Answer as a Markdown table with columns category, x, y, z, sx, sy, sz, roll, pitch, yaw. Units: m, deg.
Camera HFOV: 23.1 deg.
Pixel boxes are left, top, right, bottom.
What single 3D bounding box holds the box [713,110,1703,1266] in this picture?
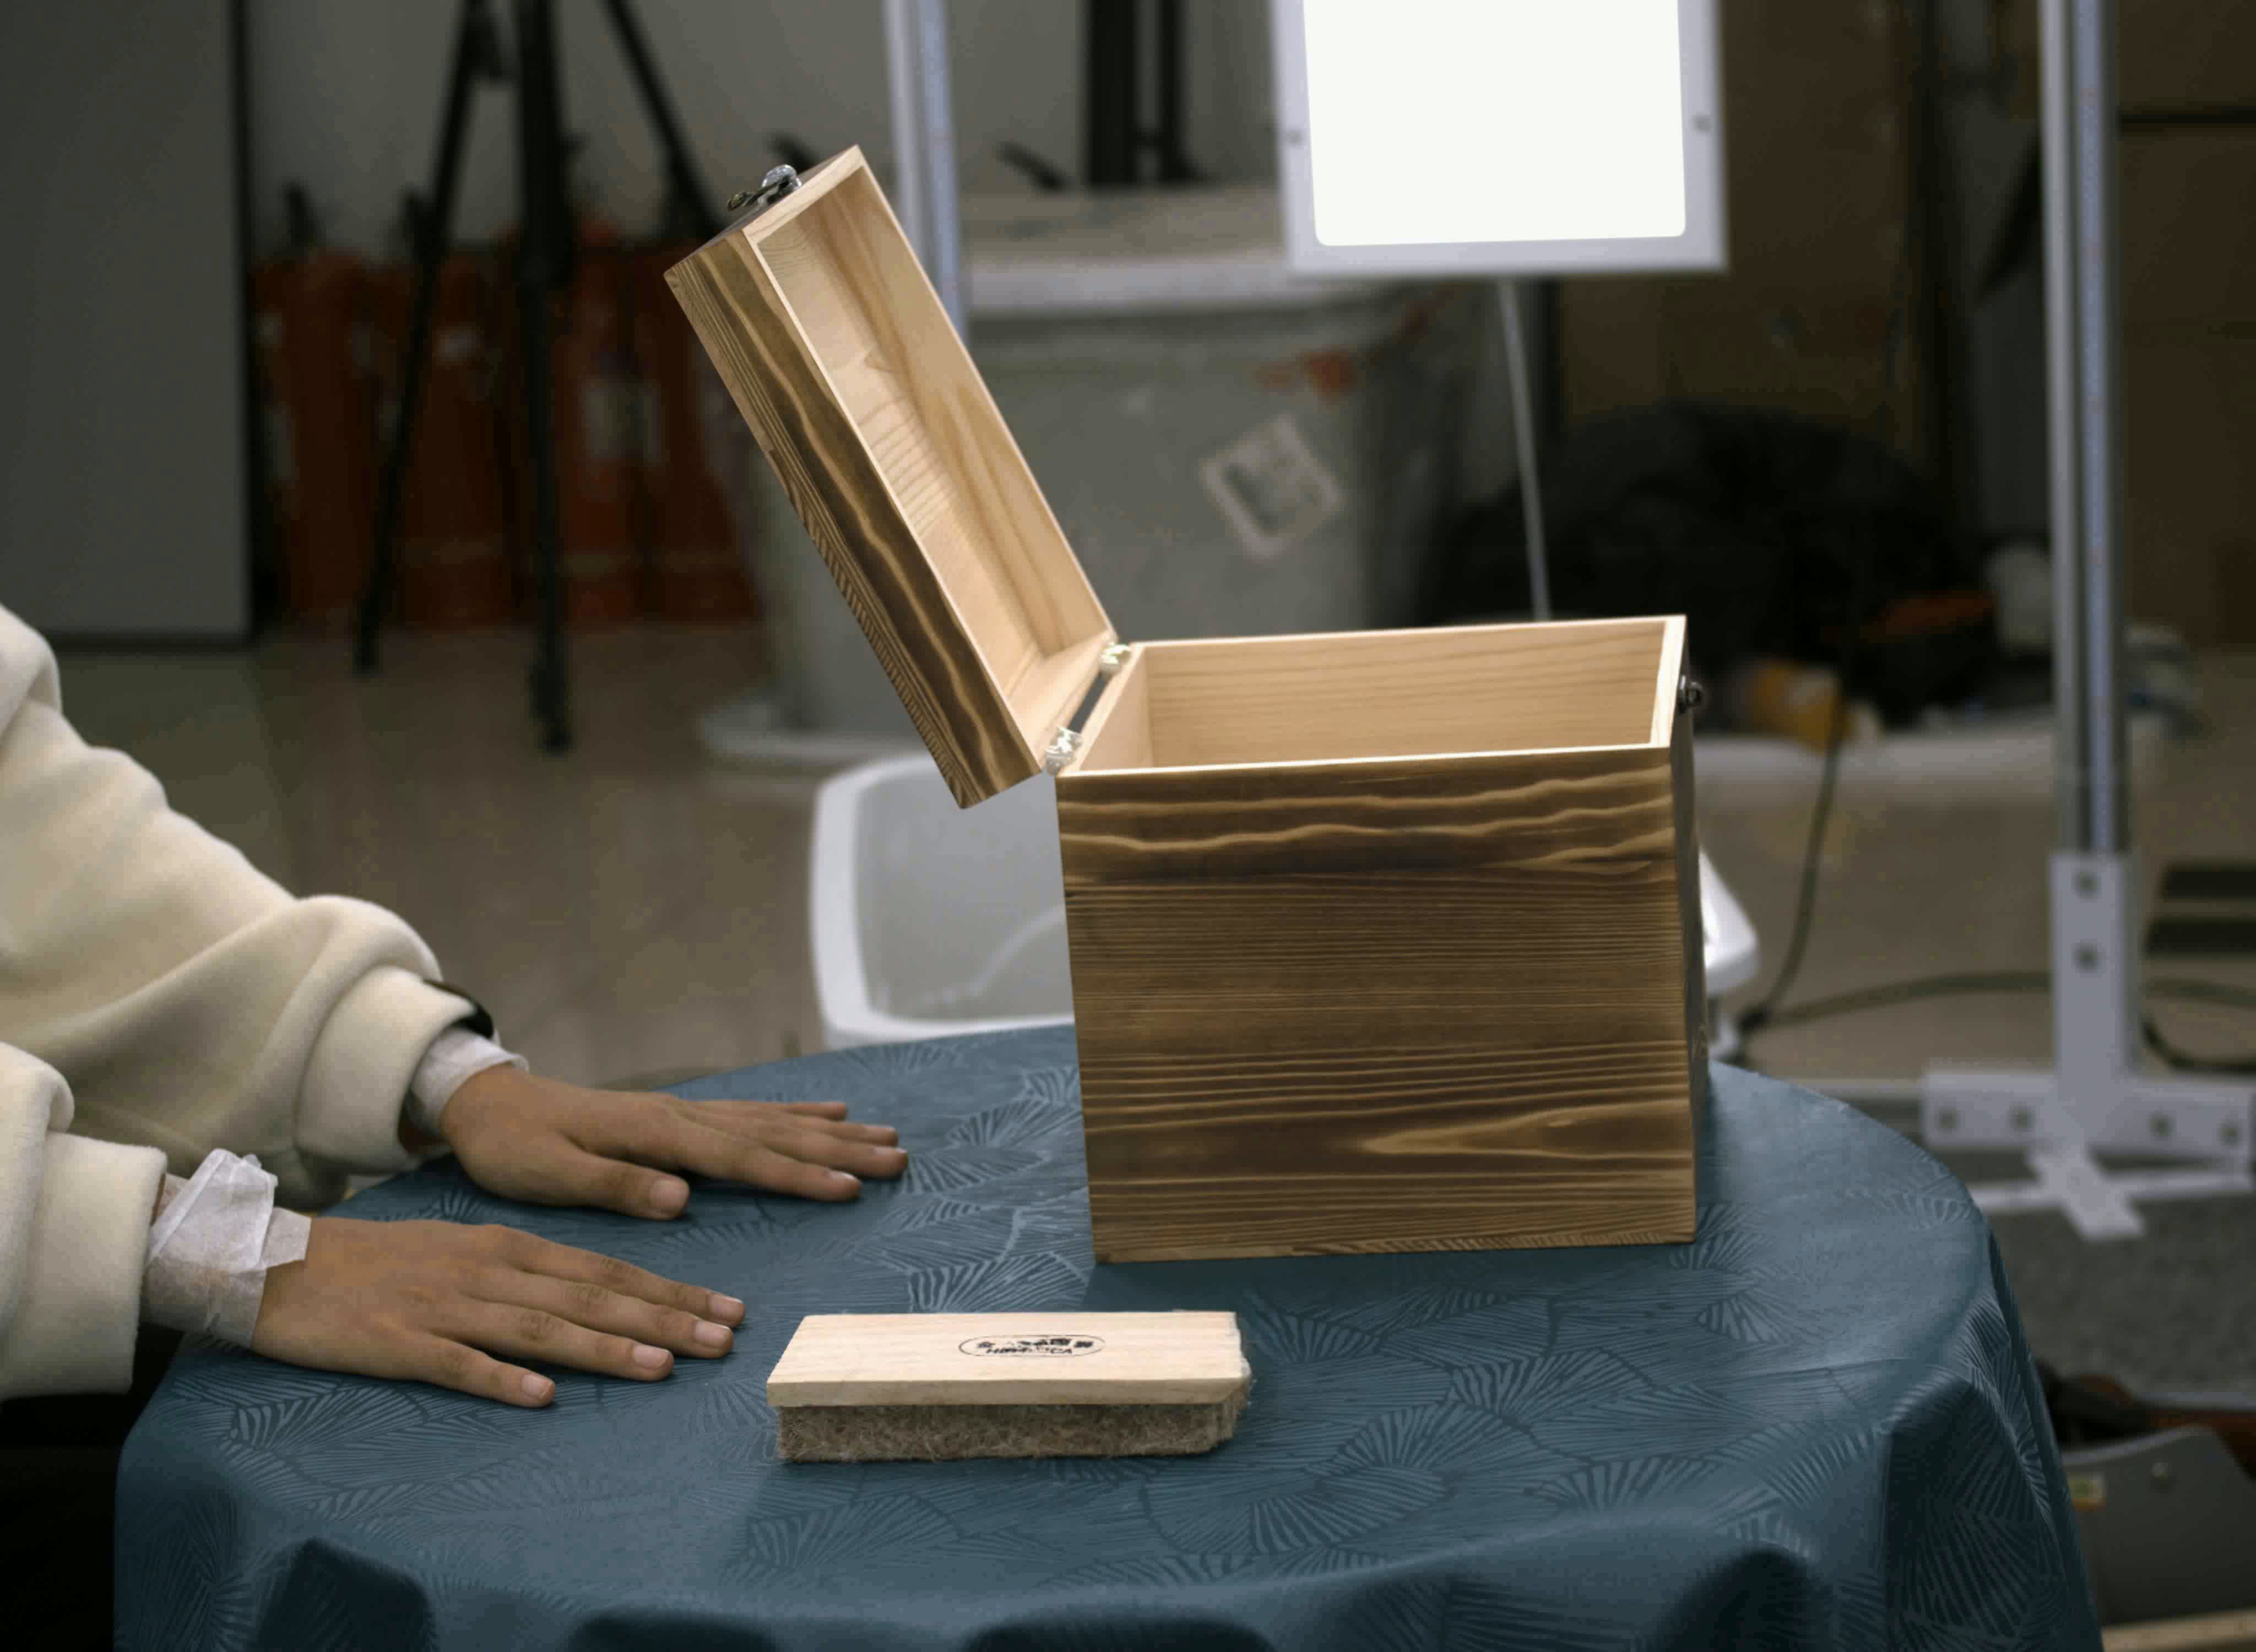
| category | x | y | z | sx | sy | sz | roll | pitch | yaw |
| --- | --- | --- | --- | --- | --- | --- | --- | --- | --- |
| box | 0.035 | -0.056 | 1.865 | 0.324 | 0.377 | 0.207 | -2 | 15 | 9 |

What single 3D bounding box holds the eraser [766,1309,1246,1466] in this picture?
| category | x | y | z | sx | sy | sz | roll | pitch | yaw |
| --- | --- | --- | --- | --- | --- | --- | --- | --- | --- |
| eraser | -0.035 | 0.170 | 1.672 | 0.140 | 0.029 | 0.056 | -3 | 17 | 14 |
